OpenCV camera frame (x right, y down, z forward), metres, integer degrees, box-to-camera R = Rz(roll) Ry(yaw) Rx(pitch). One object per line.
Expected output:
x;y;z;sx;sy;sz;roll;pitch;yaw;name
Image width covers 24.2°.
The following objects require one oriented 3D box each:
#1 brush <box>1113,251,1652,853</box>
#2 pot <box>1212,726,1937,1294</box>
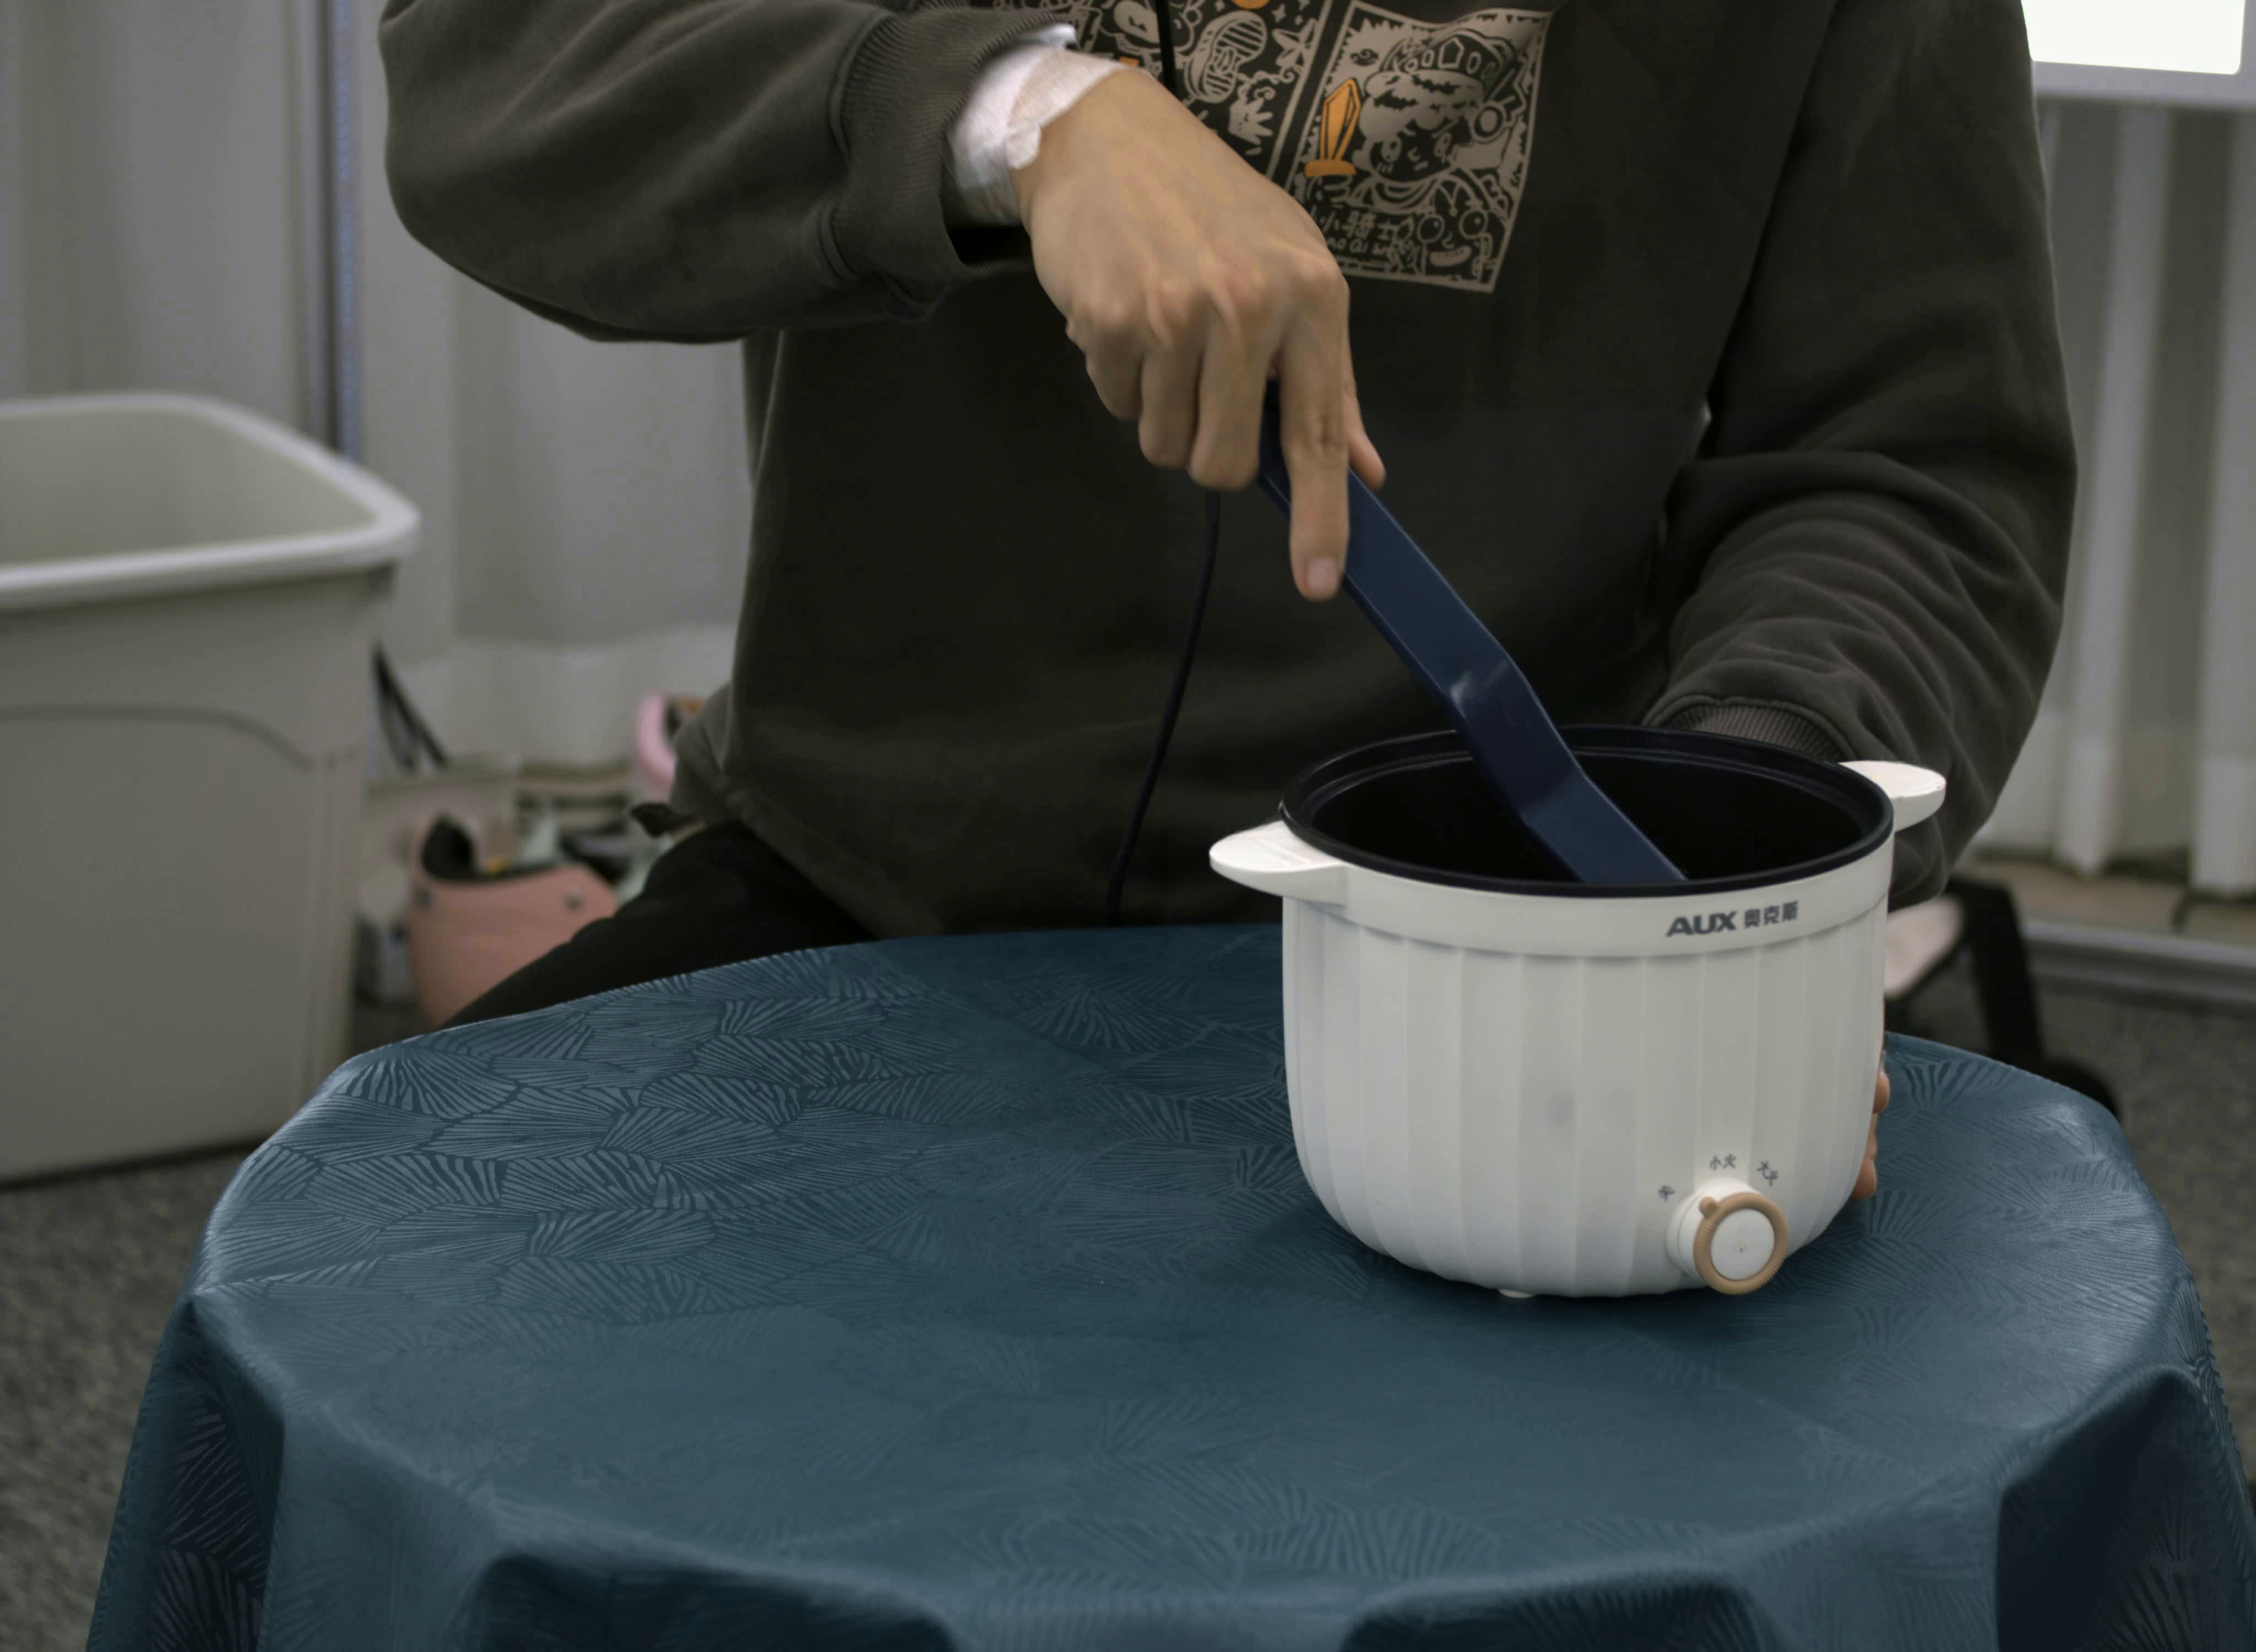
0.092;-0.060;1.579;0.033;0.274;0.095;-37;2;-10;brush
0.139;0.057;1.573;0.241;0.144;0.188;-8;14;-23;pot
